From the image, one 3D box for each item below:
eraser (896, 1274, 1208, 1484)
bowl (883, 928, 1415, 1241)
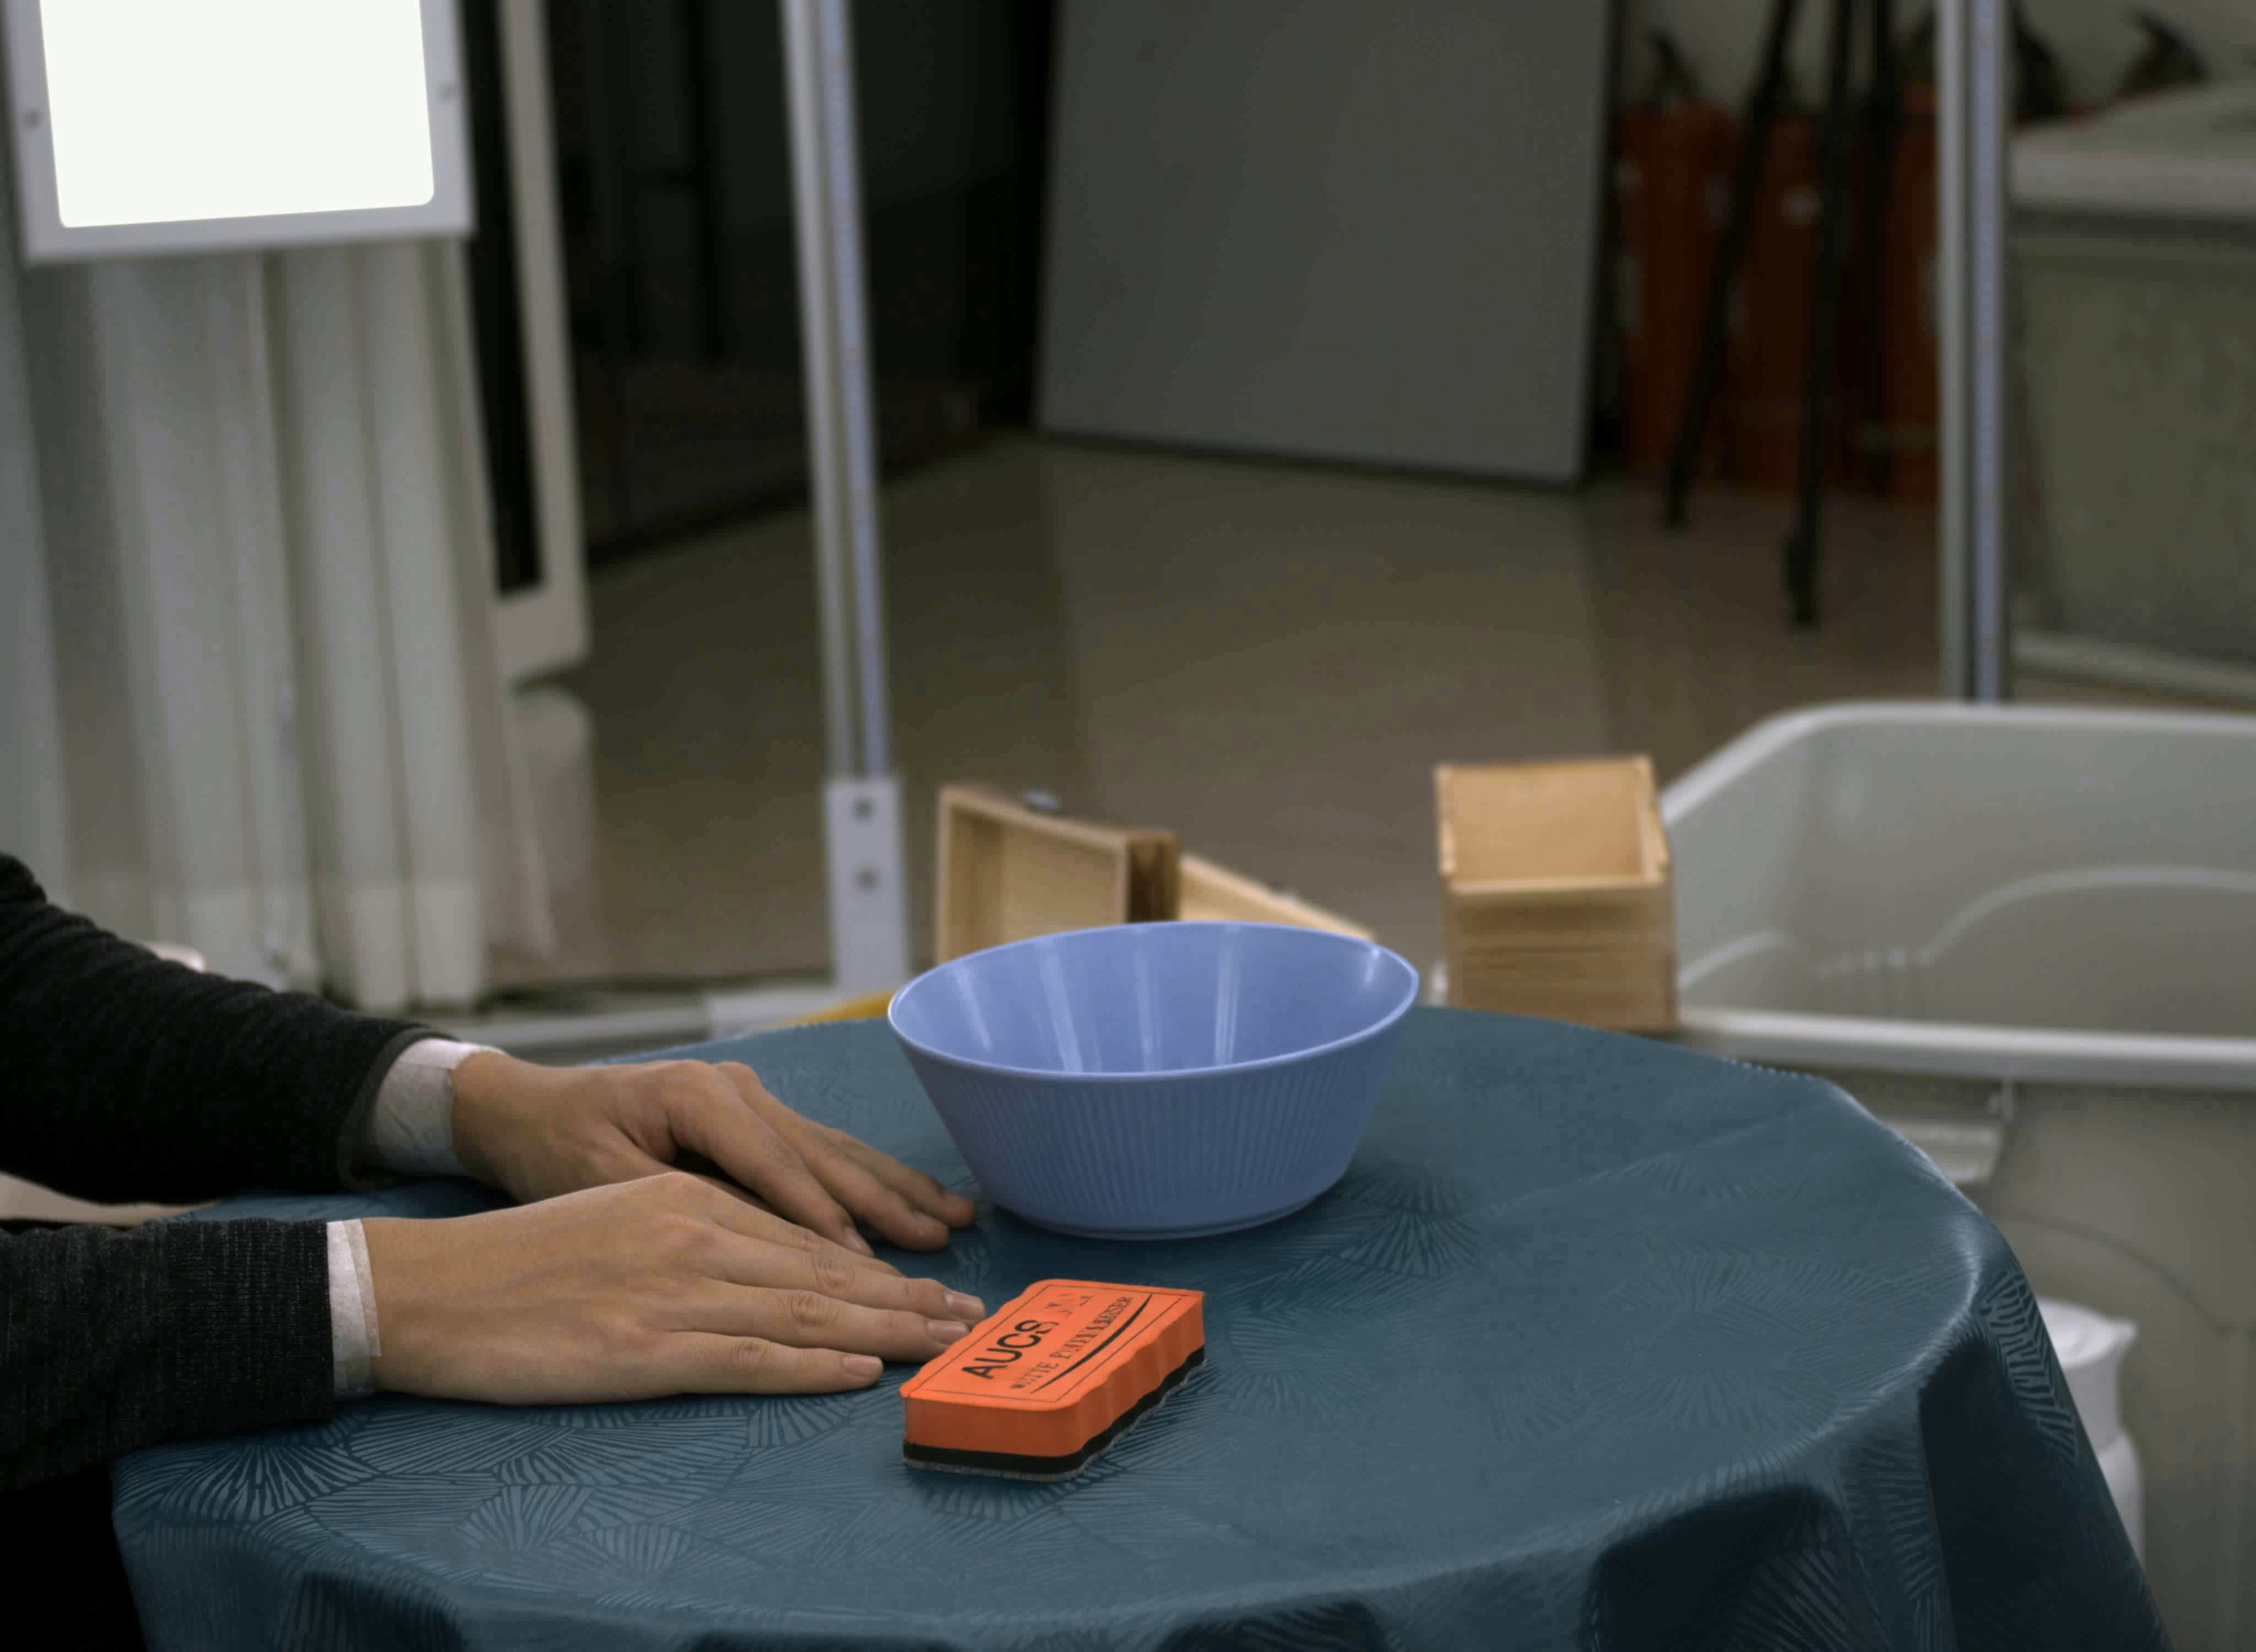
[{"bbox_3d":[-0.021,0.160,1.567,0.059,0.023,0.106,5,17,25],"label":"eraser"},{"bbox_3d":[0.009,0.086,1.762,0.174,0.071,0.176,-4,14,0],"label":"bowl"}]
